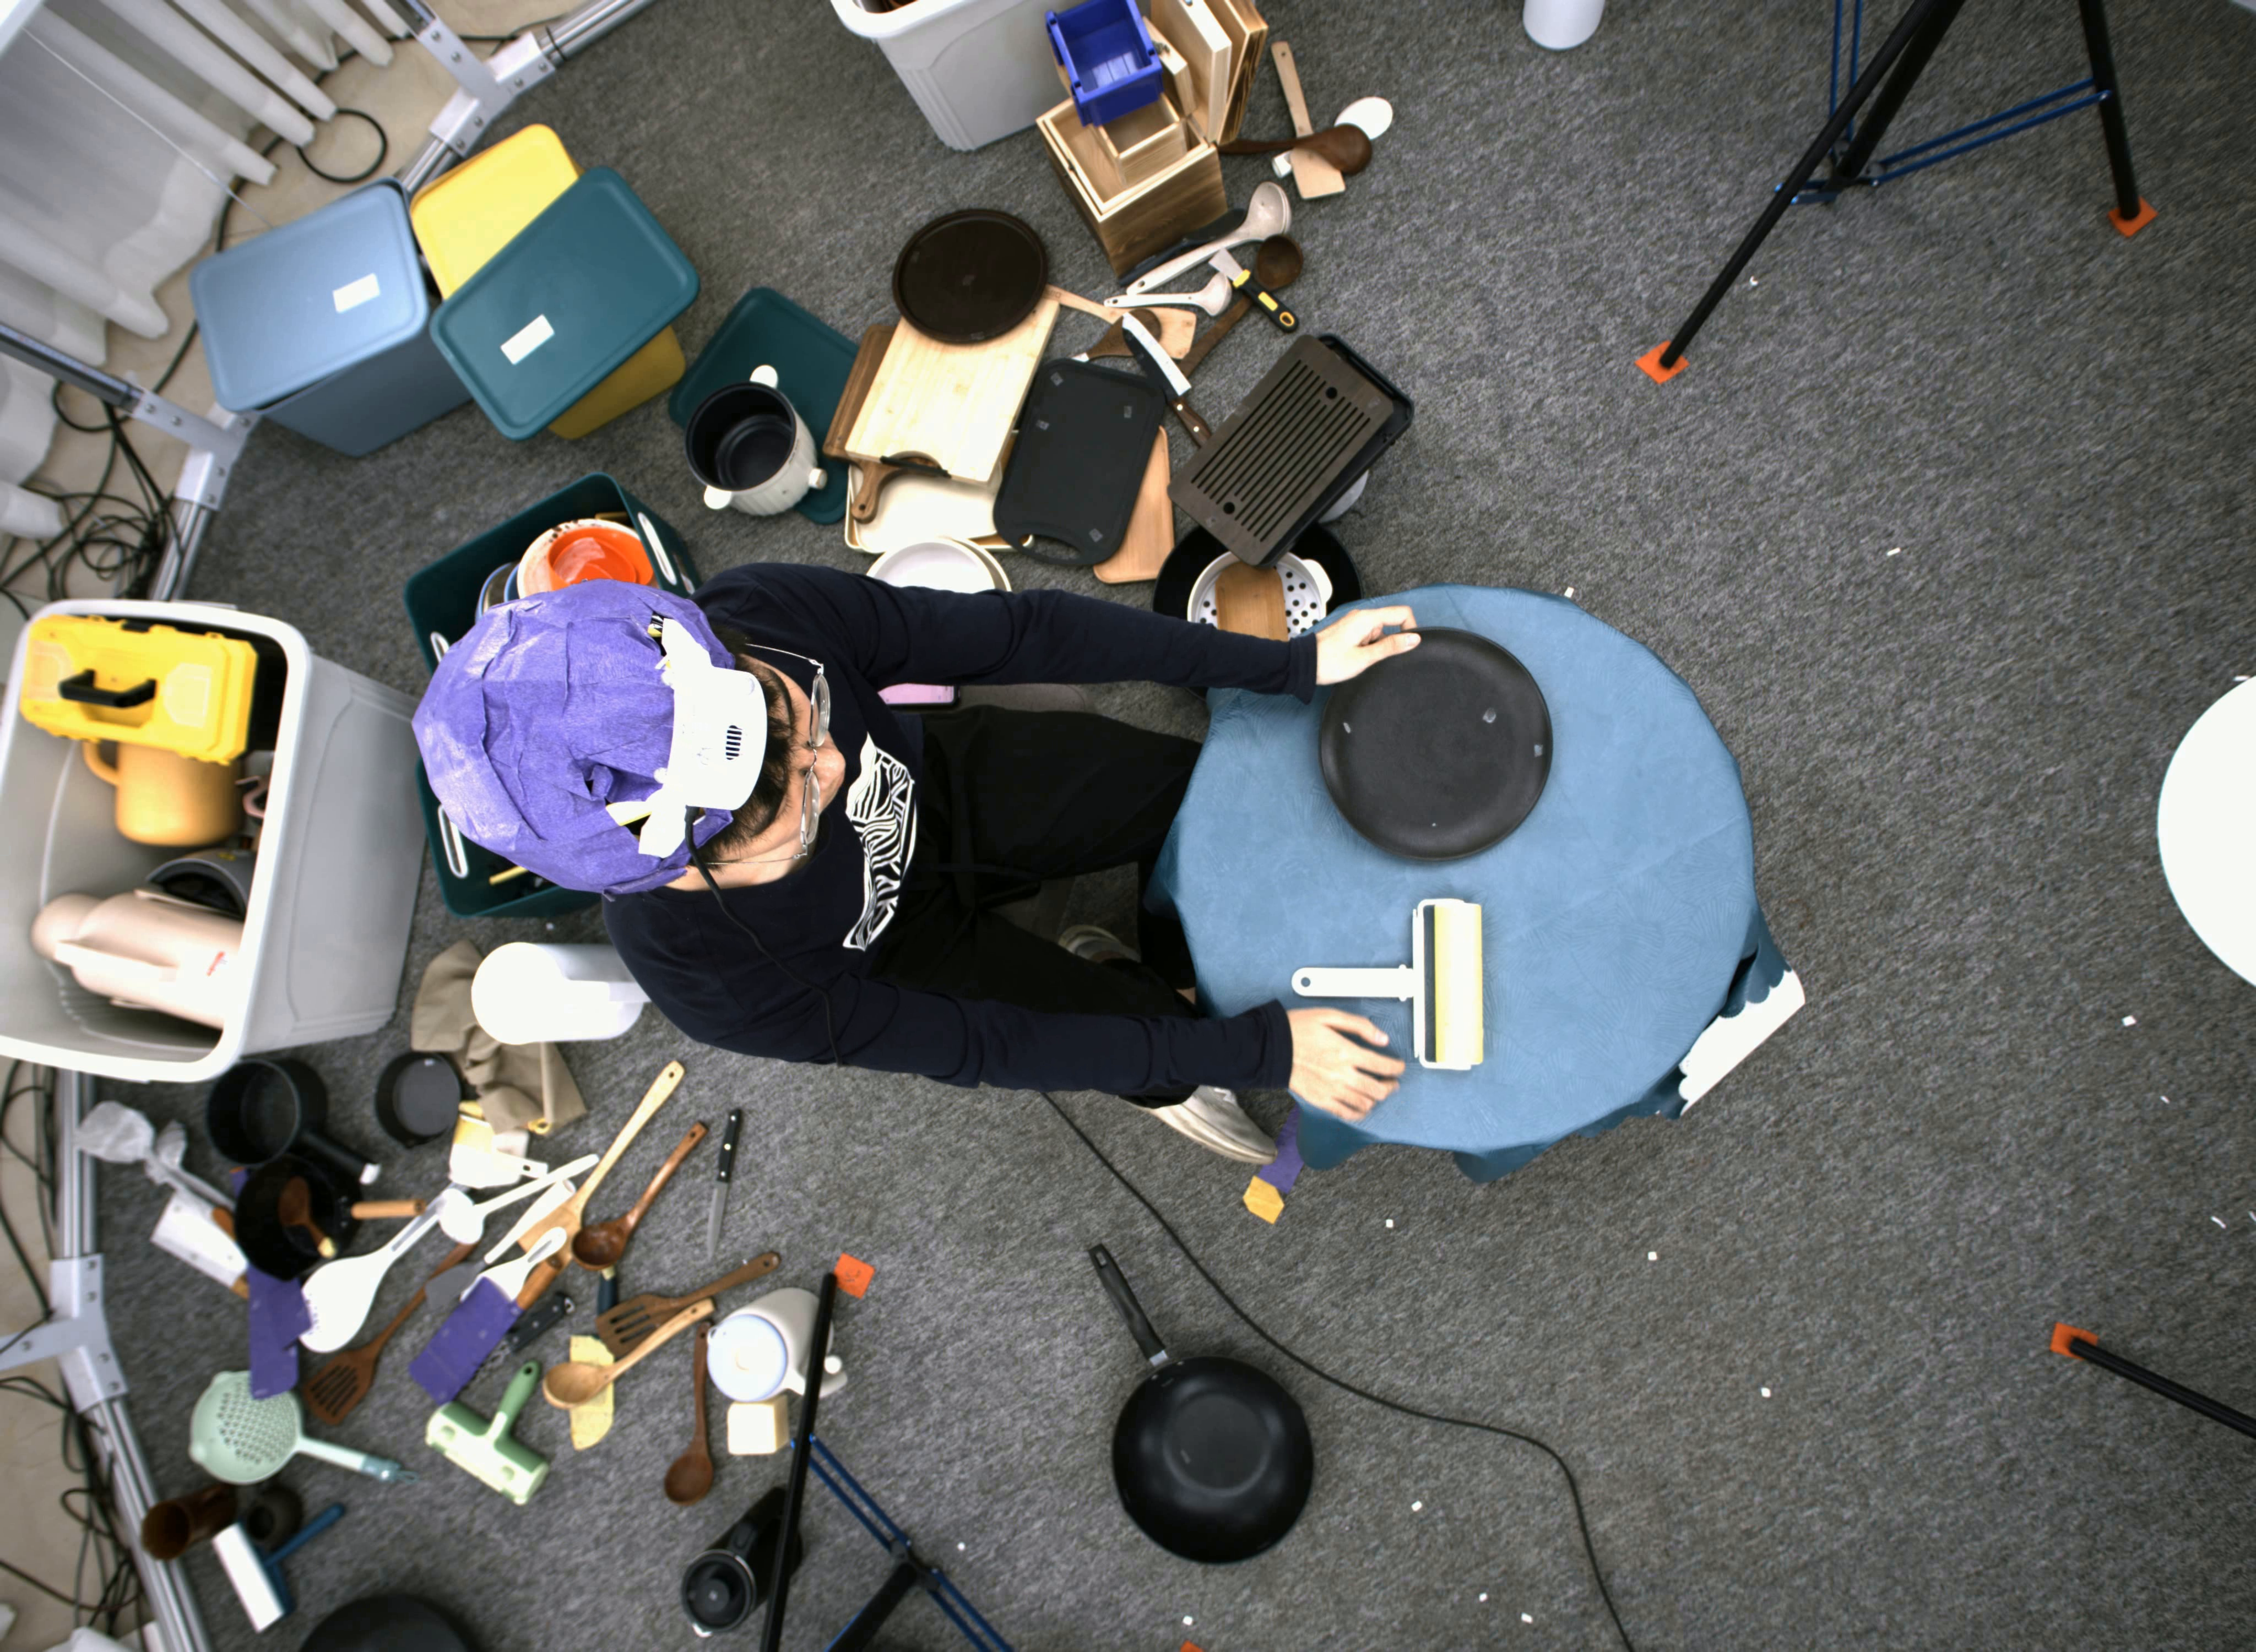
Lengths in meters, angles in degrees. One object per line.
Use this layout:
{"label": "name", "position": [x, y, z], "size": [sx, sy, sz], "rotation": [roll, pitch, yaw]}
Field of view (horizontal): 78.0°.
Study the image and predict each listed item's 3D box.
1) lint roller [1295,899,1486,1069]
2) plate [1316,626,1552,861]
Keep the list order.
{"label": "lint roller", "position": [0.269, 0.163, 1.430], "size": [0.192, 0.051, 0.173], "rotation": [-2, 86, 7]}
{"label": "plate", "position": [0.316, -0.086, 1.428], "size": [0.245, 0.023, 0.246], "rotation": [0, 98, 4]}
